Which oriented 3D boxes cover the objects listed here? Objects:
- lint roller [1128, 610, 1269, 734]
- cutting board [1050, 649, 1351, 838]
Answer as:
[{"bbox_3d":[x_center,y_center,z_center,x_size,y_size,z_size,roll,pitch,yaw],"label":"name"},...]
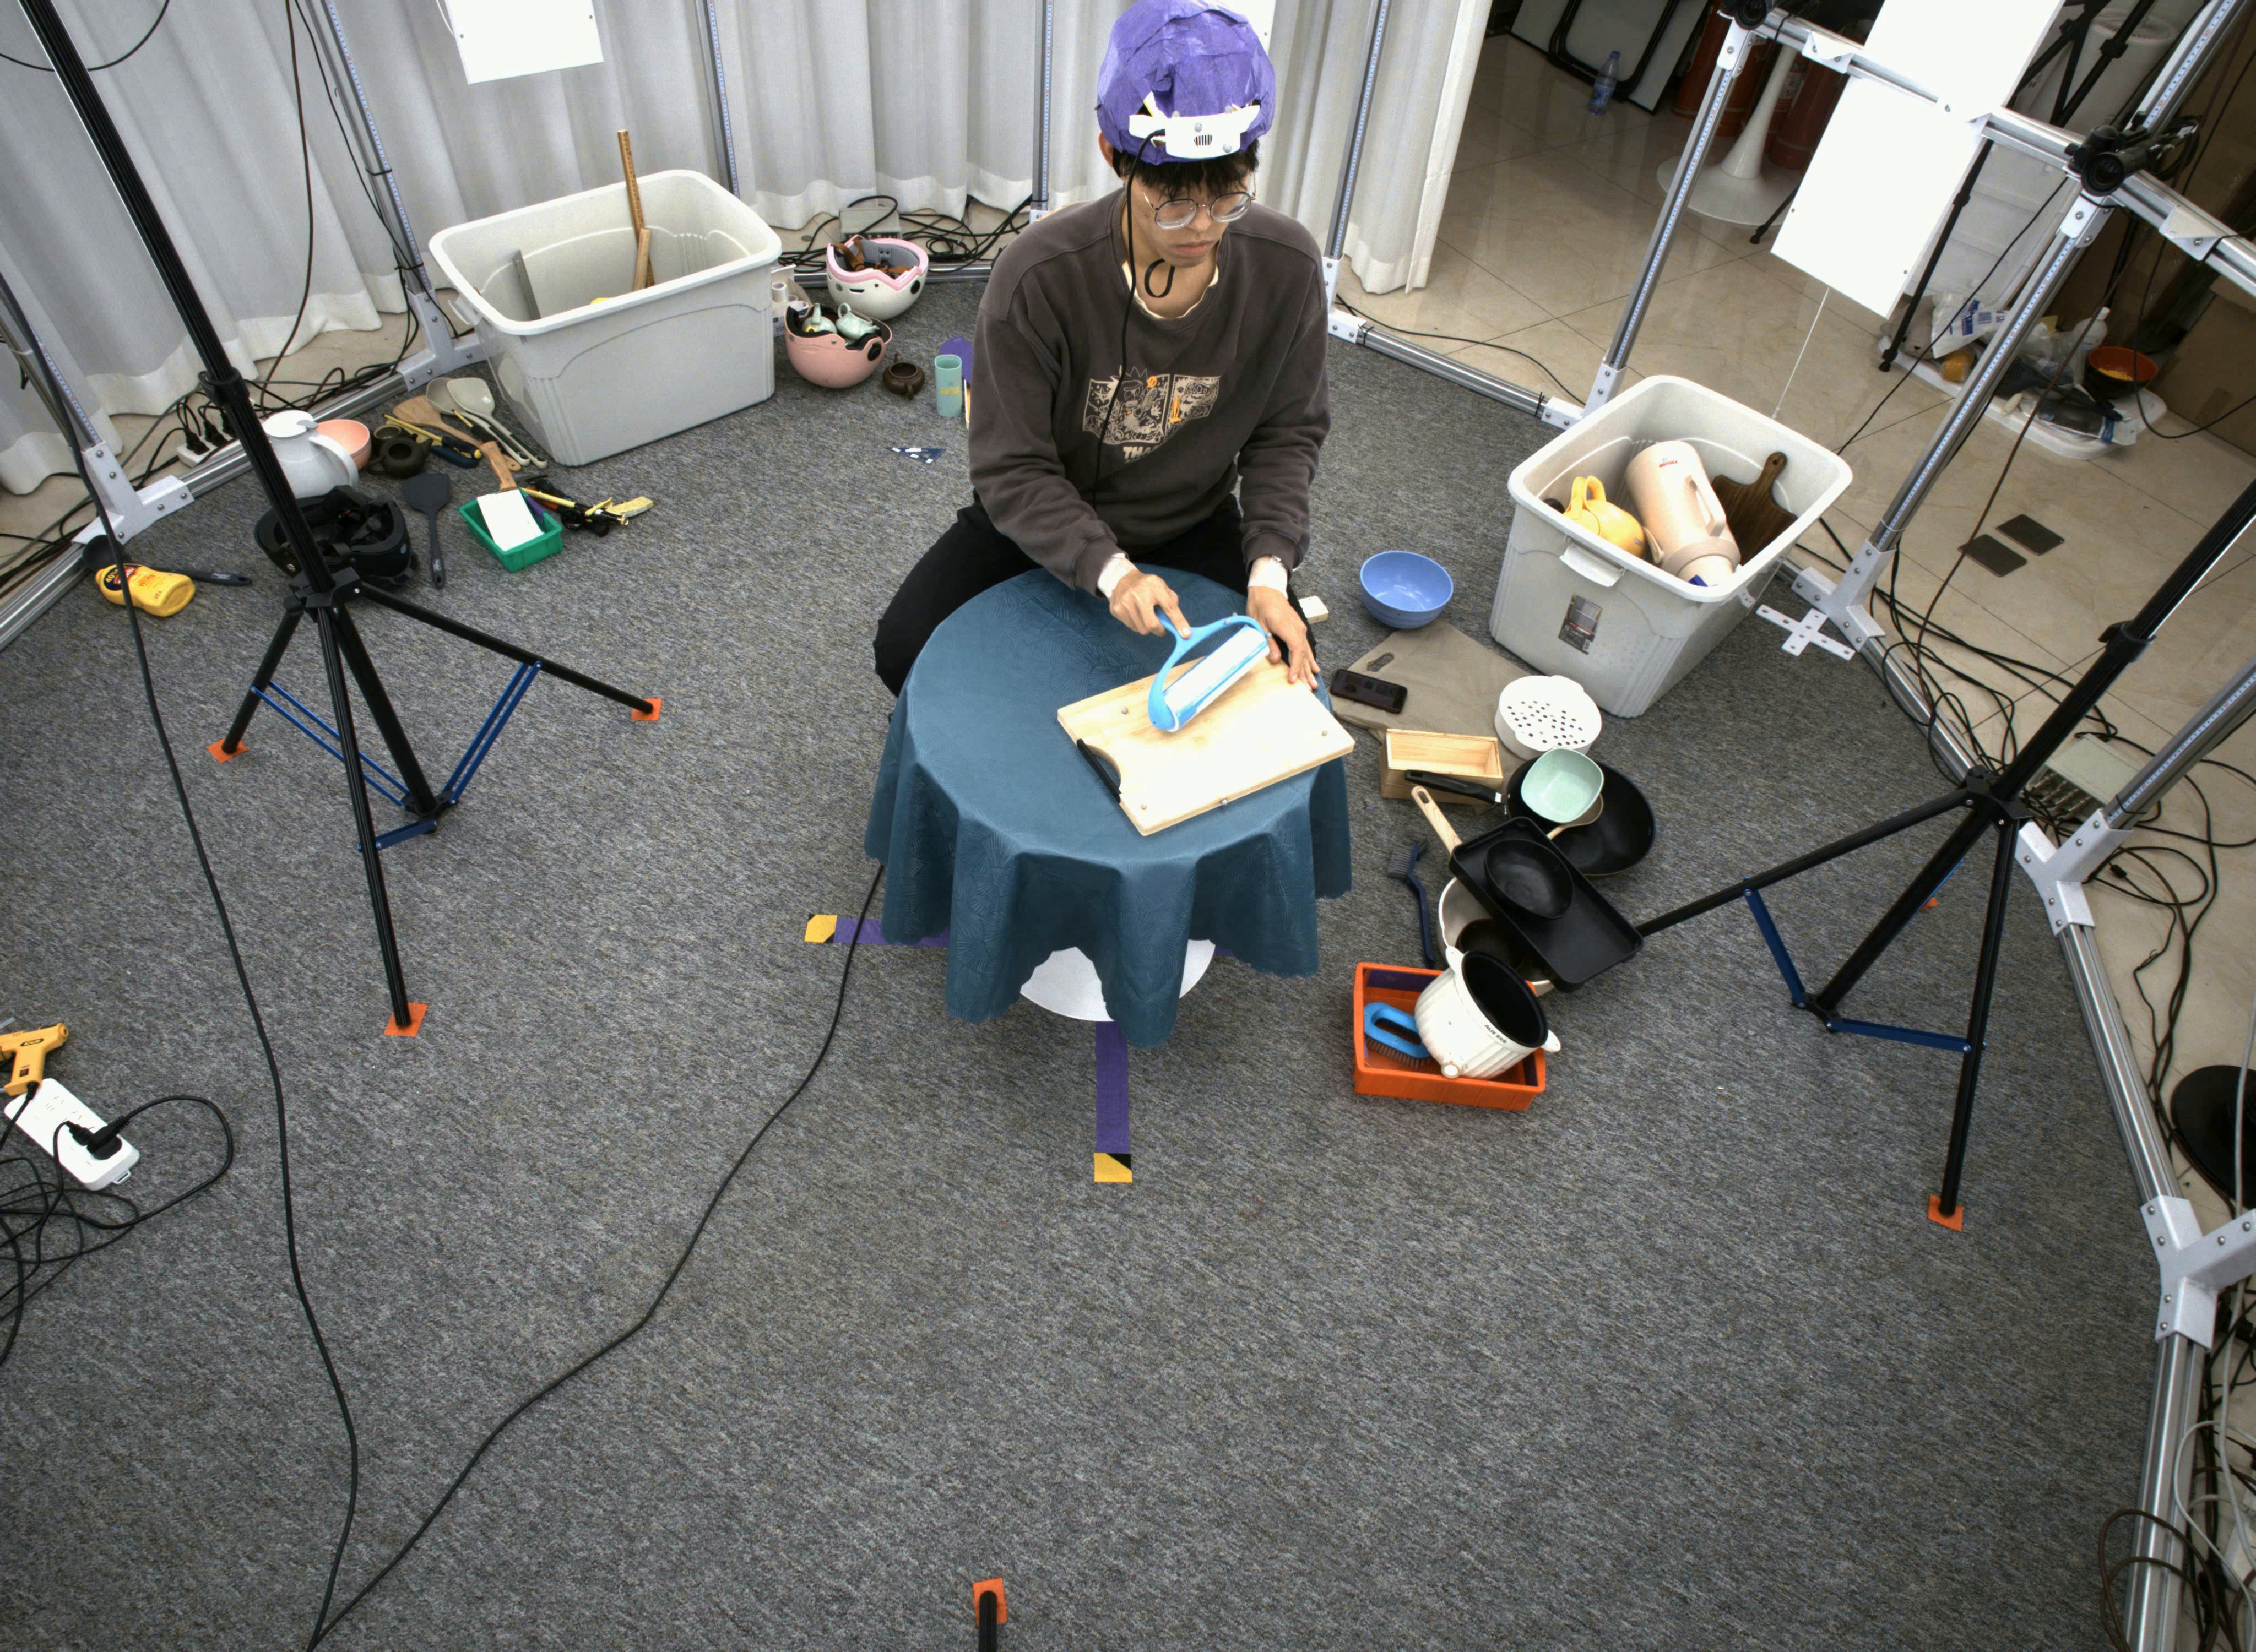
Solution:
[{"bbox_3d":[0.073,-0.244,1.773,0.181,0.067,0.231,43,62,5],"label":"lint roller"},{"bbox_3d":[0.102,-0.131,1.775,0.350,0.023,0.256,-22,53,-21],"label":"cutting board"}]
